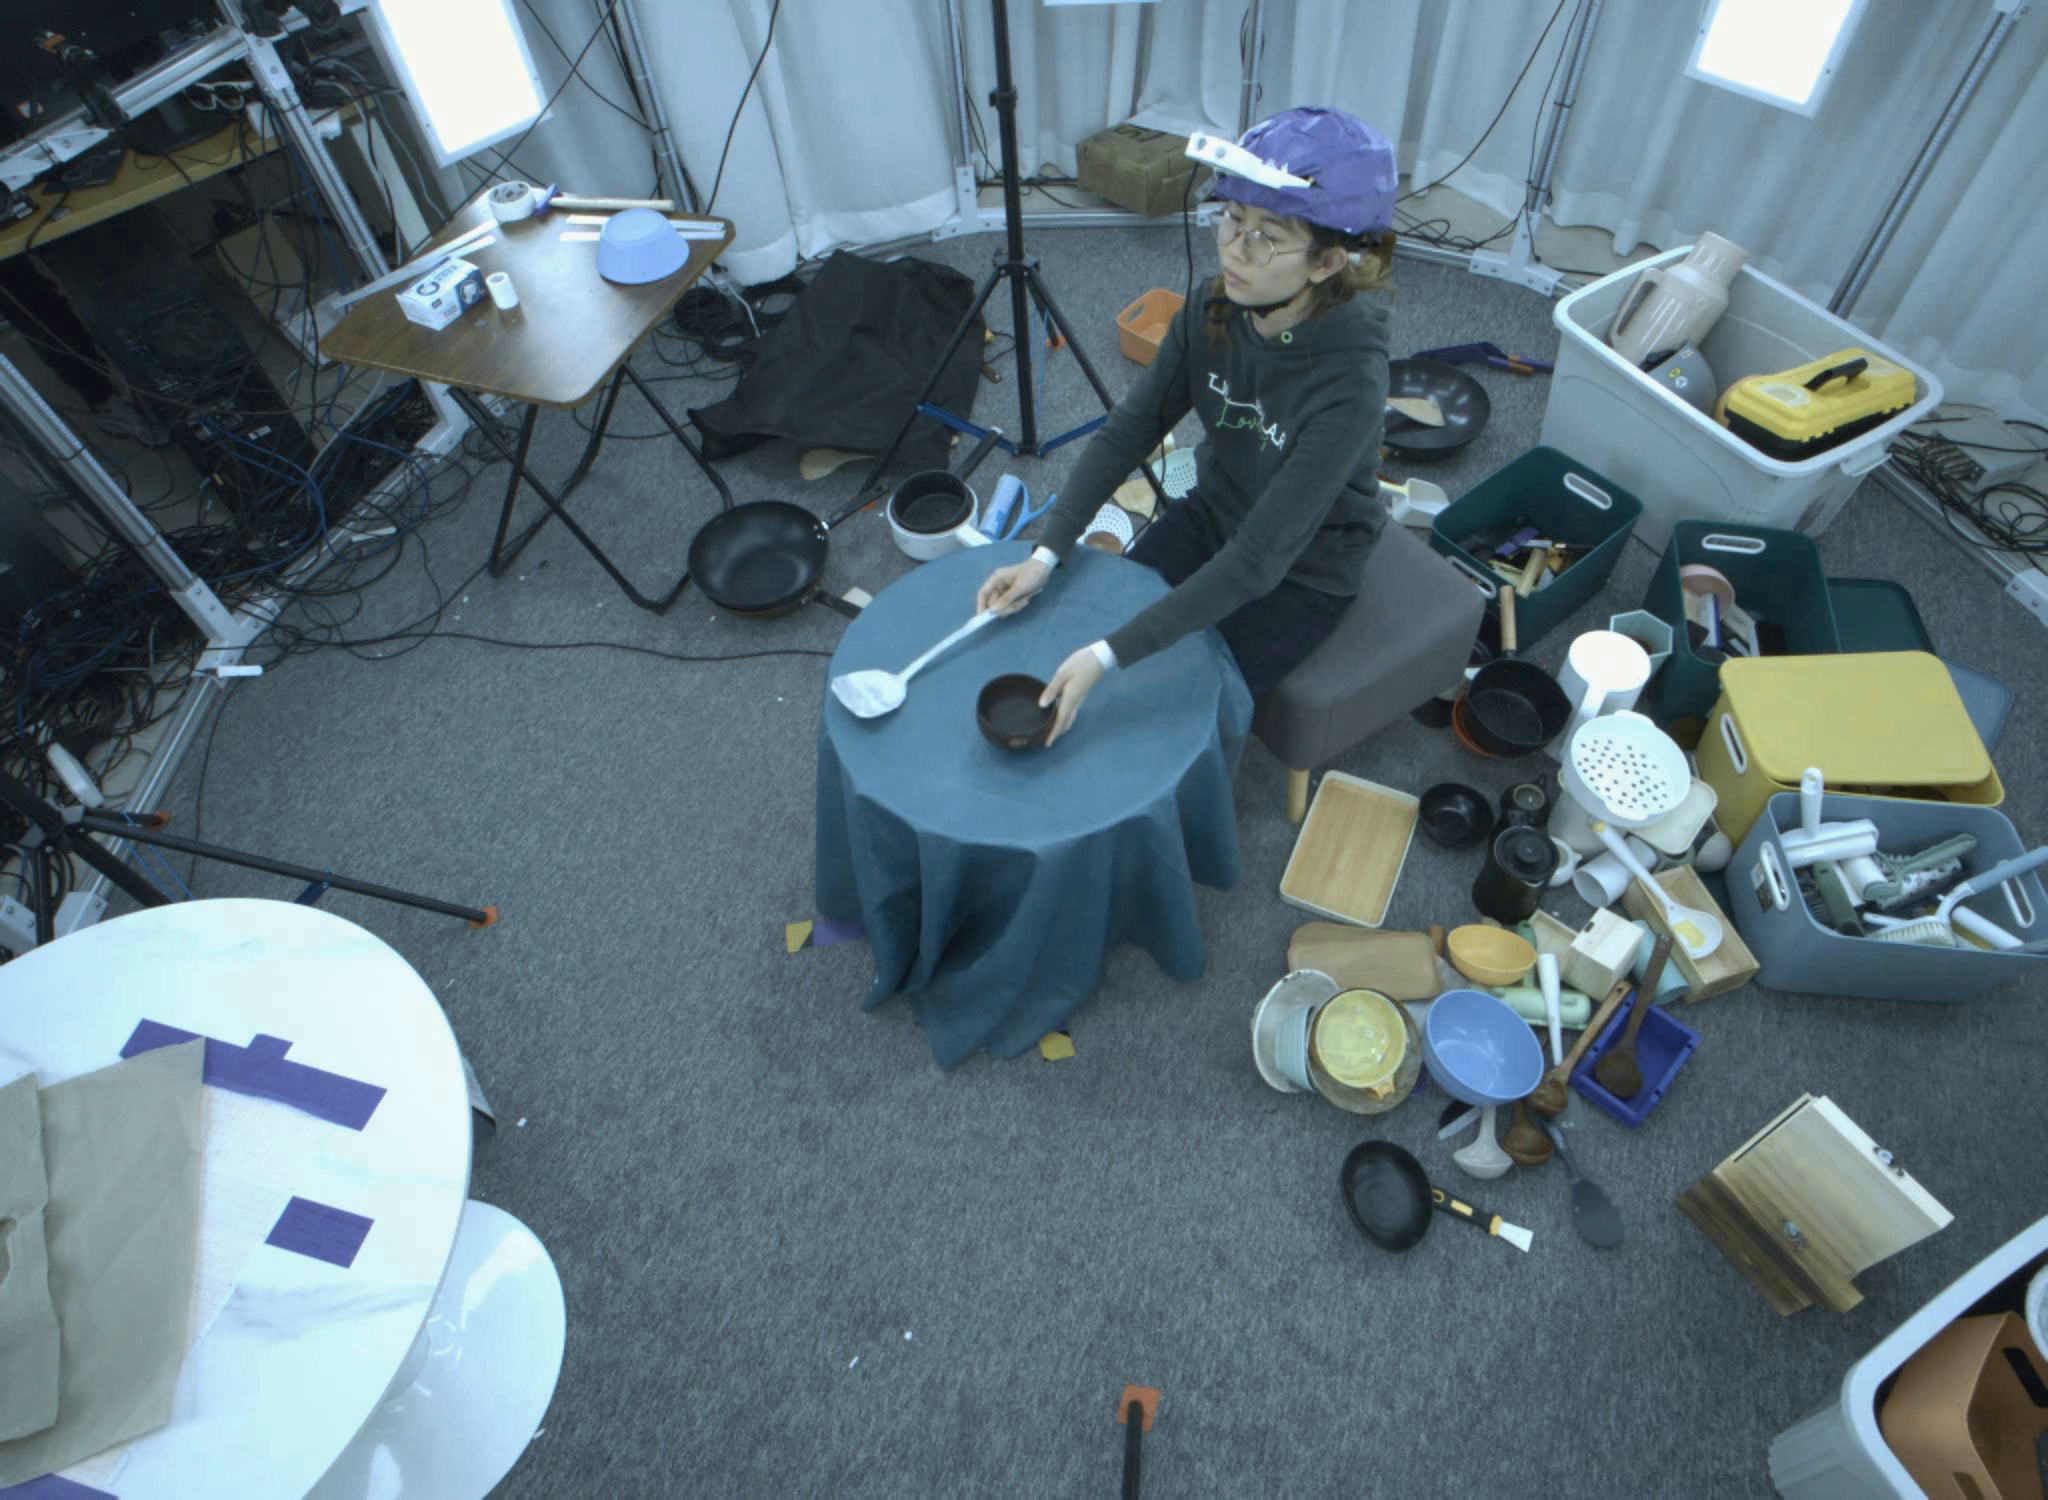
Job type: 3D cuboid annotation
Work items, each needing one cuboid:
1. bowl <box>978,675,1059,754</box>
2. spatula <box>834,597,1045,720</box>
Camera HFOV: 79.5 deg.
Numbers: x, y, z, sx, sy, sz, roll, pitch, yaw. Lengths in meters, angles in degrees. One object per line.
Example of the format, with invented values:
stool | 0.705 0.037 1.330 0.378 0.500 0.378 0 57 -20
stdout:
bowl | -0.009 -0.043 1.781 0.118 0.070 0.117 2 54 -2
spatula | -0.121 -0.155 1.877 0.367 0.045 0.097 -35 59 -16
